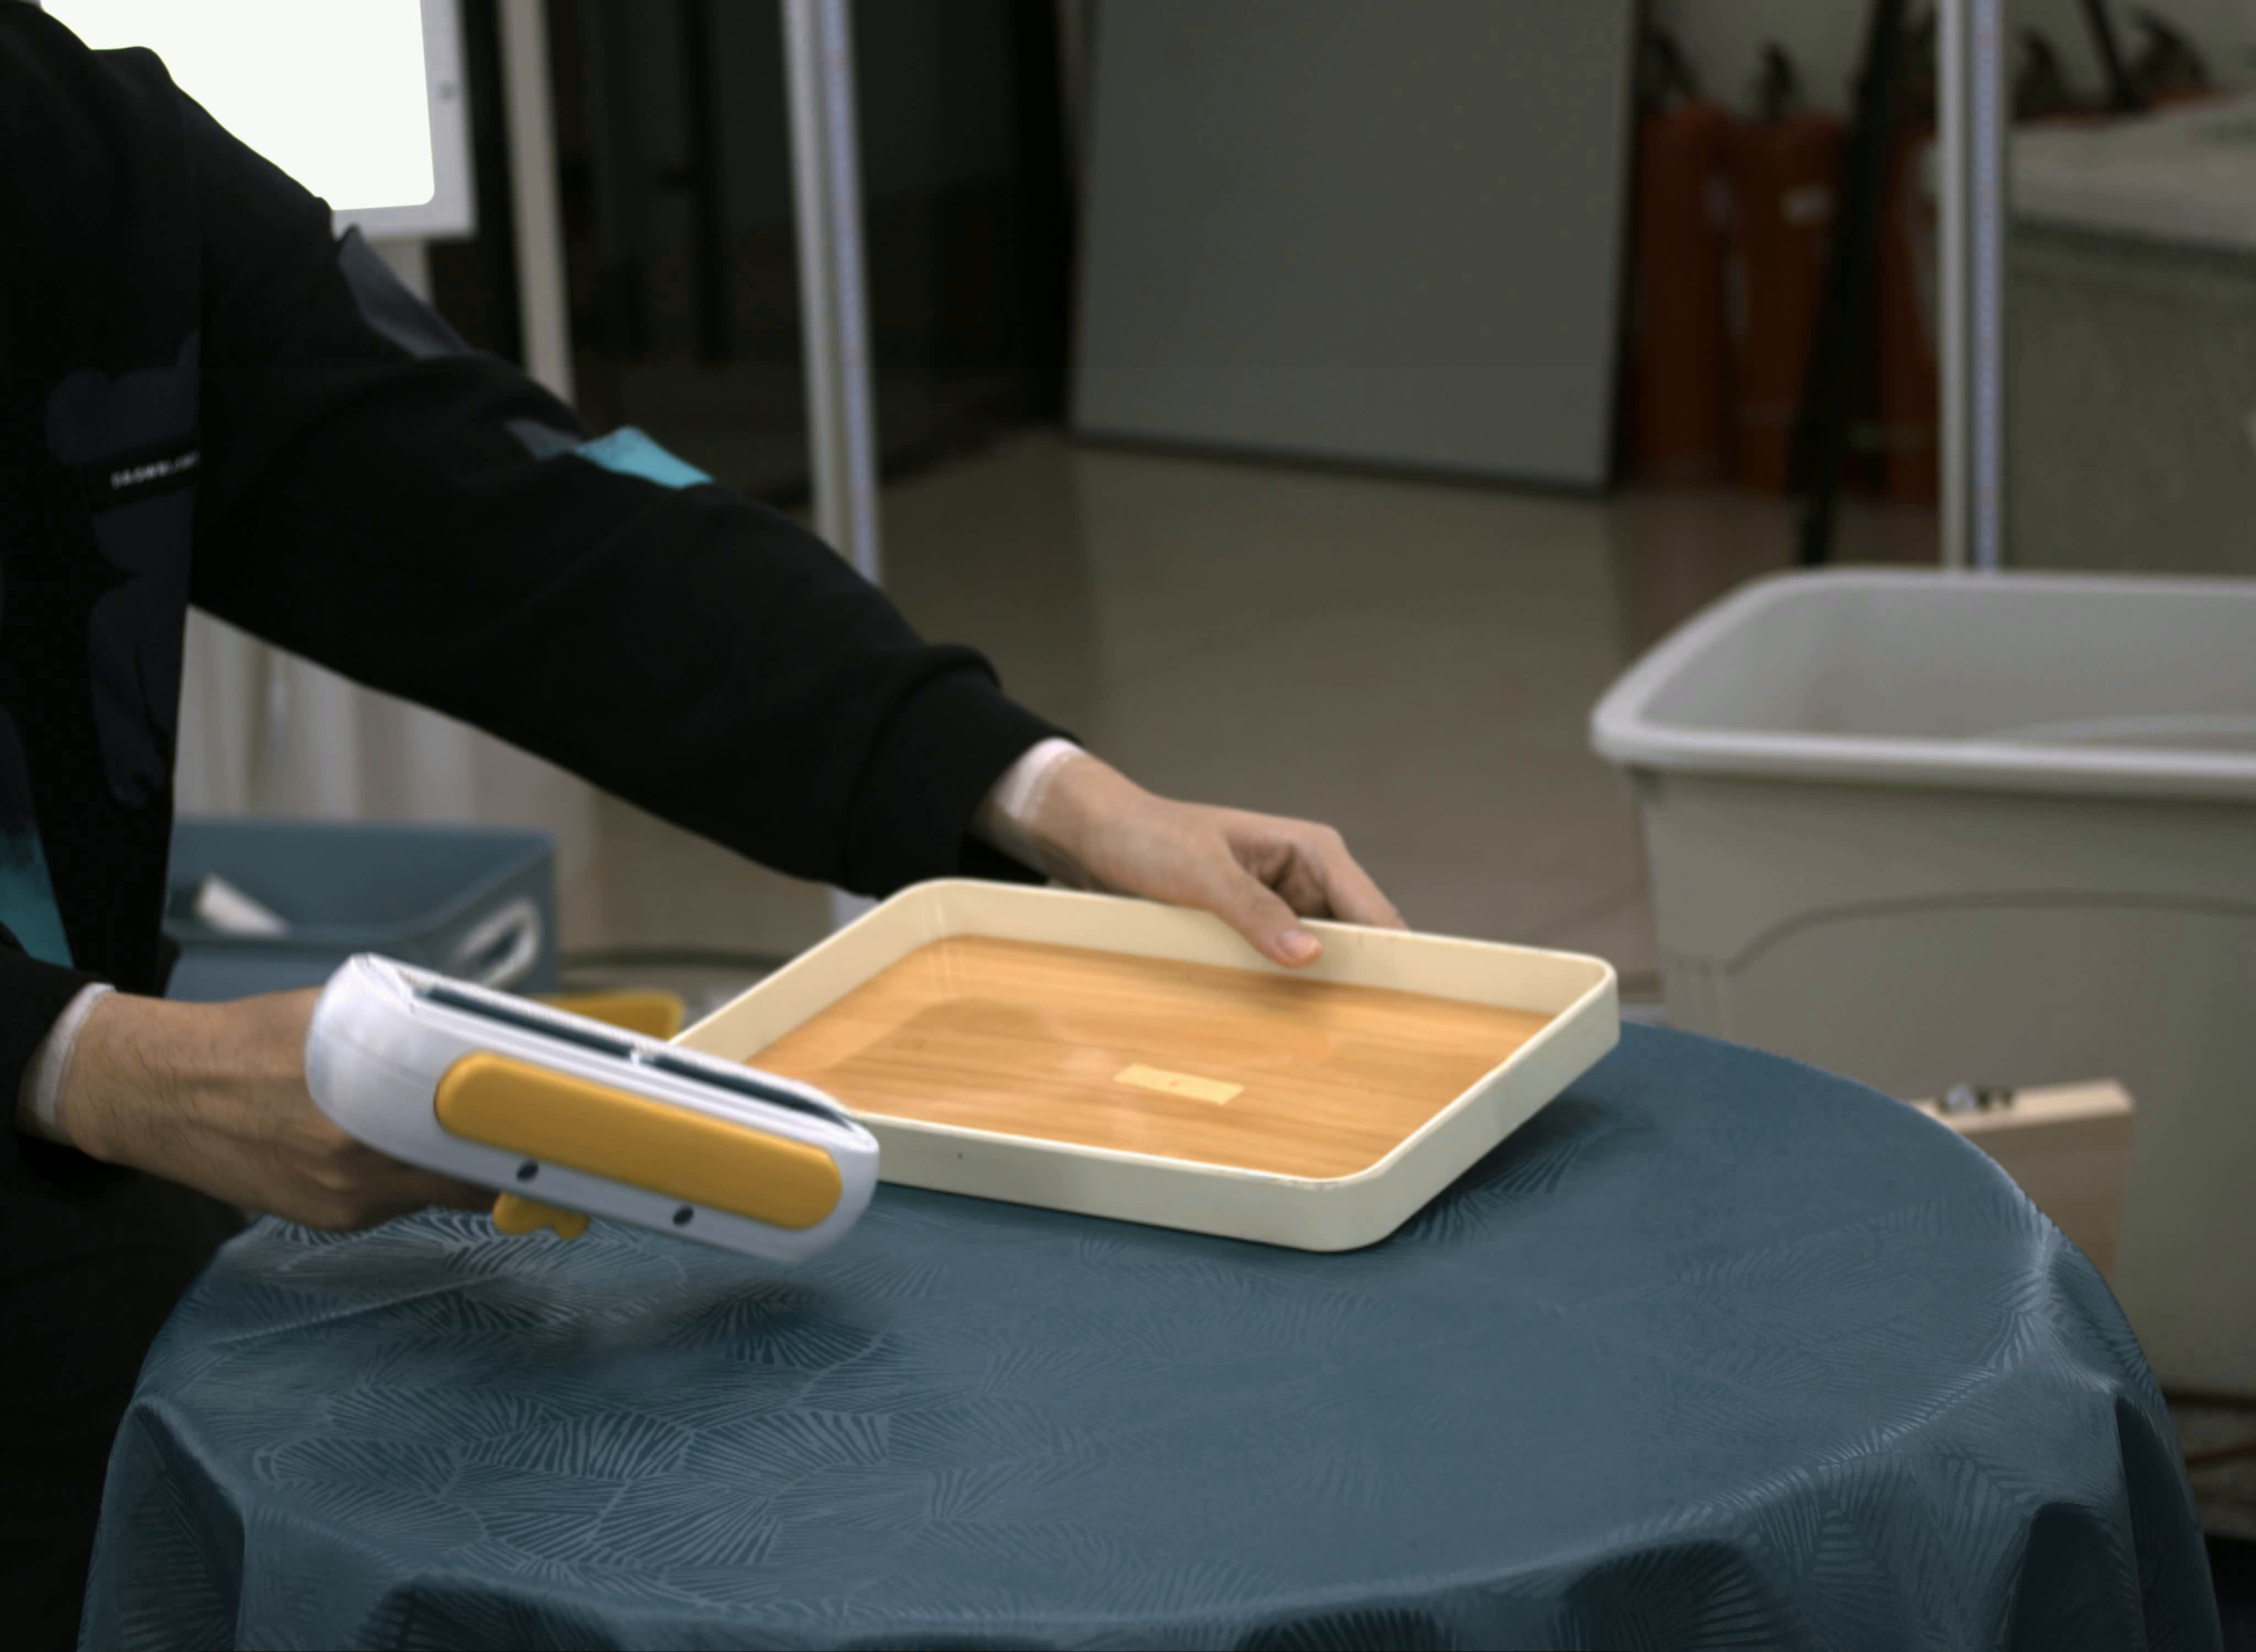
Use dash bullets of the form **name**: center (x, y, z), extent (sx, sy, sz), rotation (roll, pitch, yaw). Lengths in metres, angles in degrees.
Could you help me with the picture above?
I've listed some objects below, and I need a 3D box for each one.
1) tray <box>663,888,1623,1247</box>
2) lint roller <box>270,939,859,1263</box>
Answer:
- **tray**: center (0.001, 0.079, 1.838), extent (0.302, 0.027, 0.189), rotation (6, 24, 35)
- **lint roller**: center (-0.199, 0.081, 1.694), extent (0.188, 0.075, 0.194), rotation (15, 2, -30)
